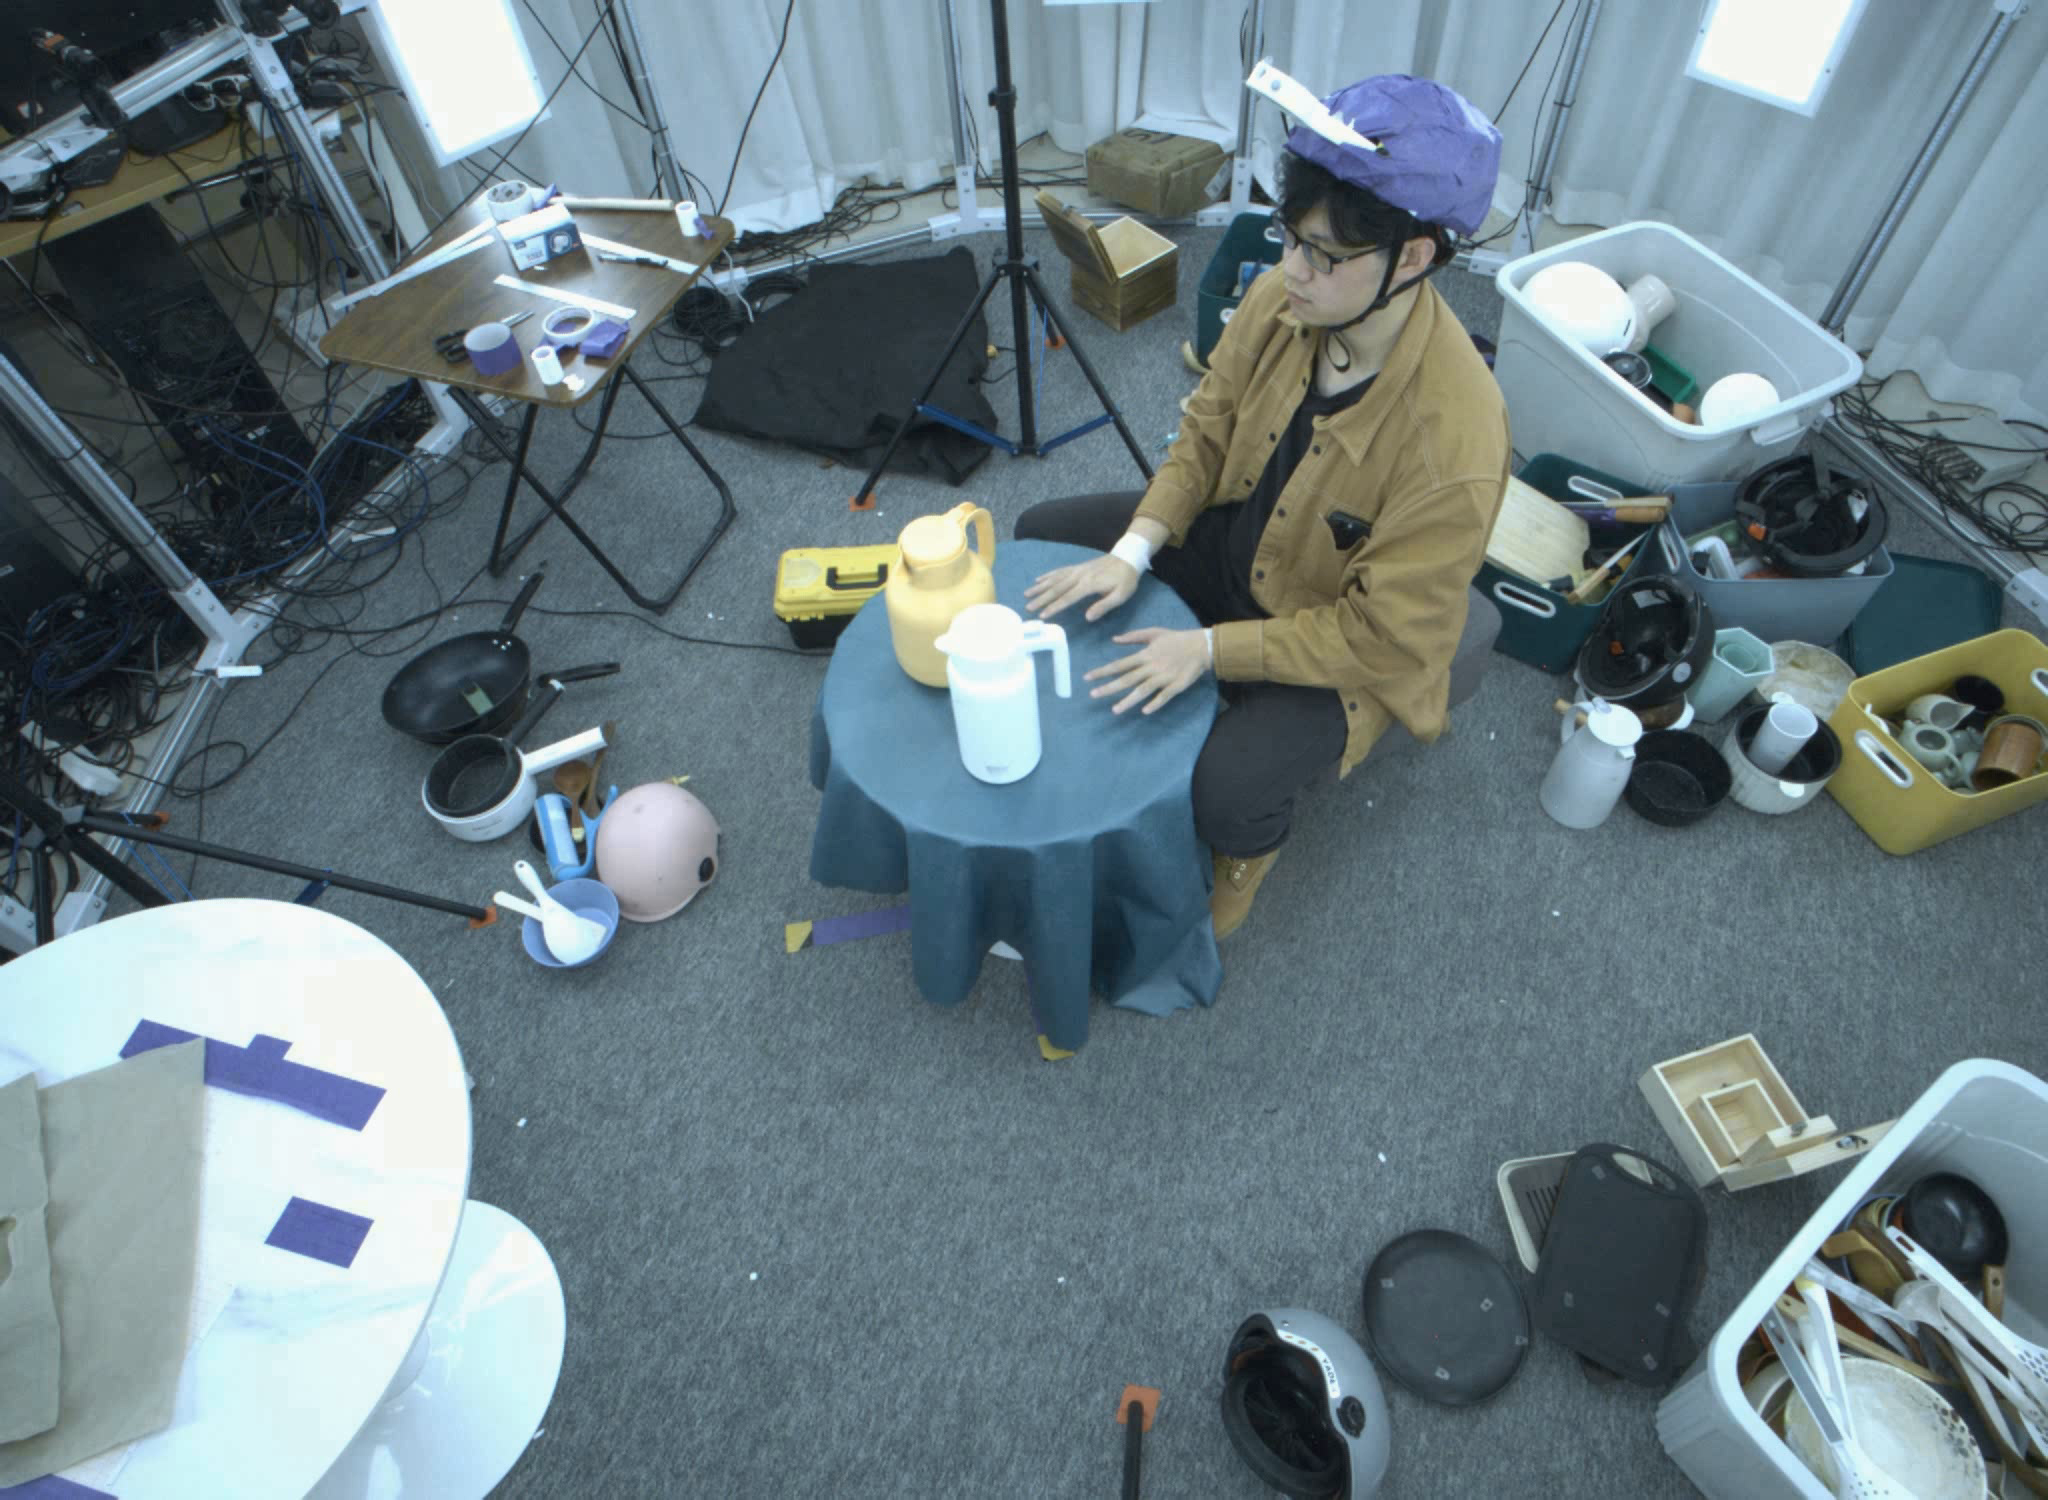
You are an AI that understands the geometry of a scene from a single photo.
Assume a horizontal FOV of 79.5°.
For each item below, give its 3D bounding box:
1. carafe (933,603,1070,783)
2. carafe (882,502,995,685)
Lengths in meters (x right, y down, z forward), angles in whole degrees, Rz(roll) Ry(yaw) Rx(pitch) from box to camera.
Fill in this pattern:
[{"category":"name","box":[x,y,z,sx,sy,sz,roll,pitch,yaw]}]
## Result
[{"category":"carafe","box":[-0.024,-0.078,1.674,0.173,0.272,0.122,-9,52,-3]},{"category":"carafe","box":[-0.112,-0.236,1.793,0.161,0.263,0.203,31,63,20]}]
